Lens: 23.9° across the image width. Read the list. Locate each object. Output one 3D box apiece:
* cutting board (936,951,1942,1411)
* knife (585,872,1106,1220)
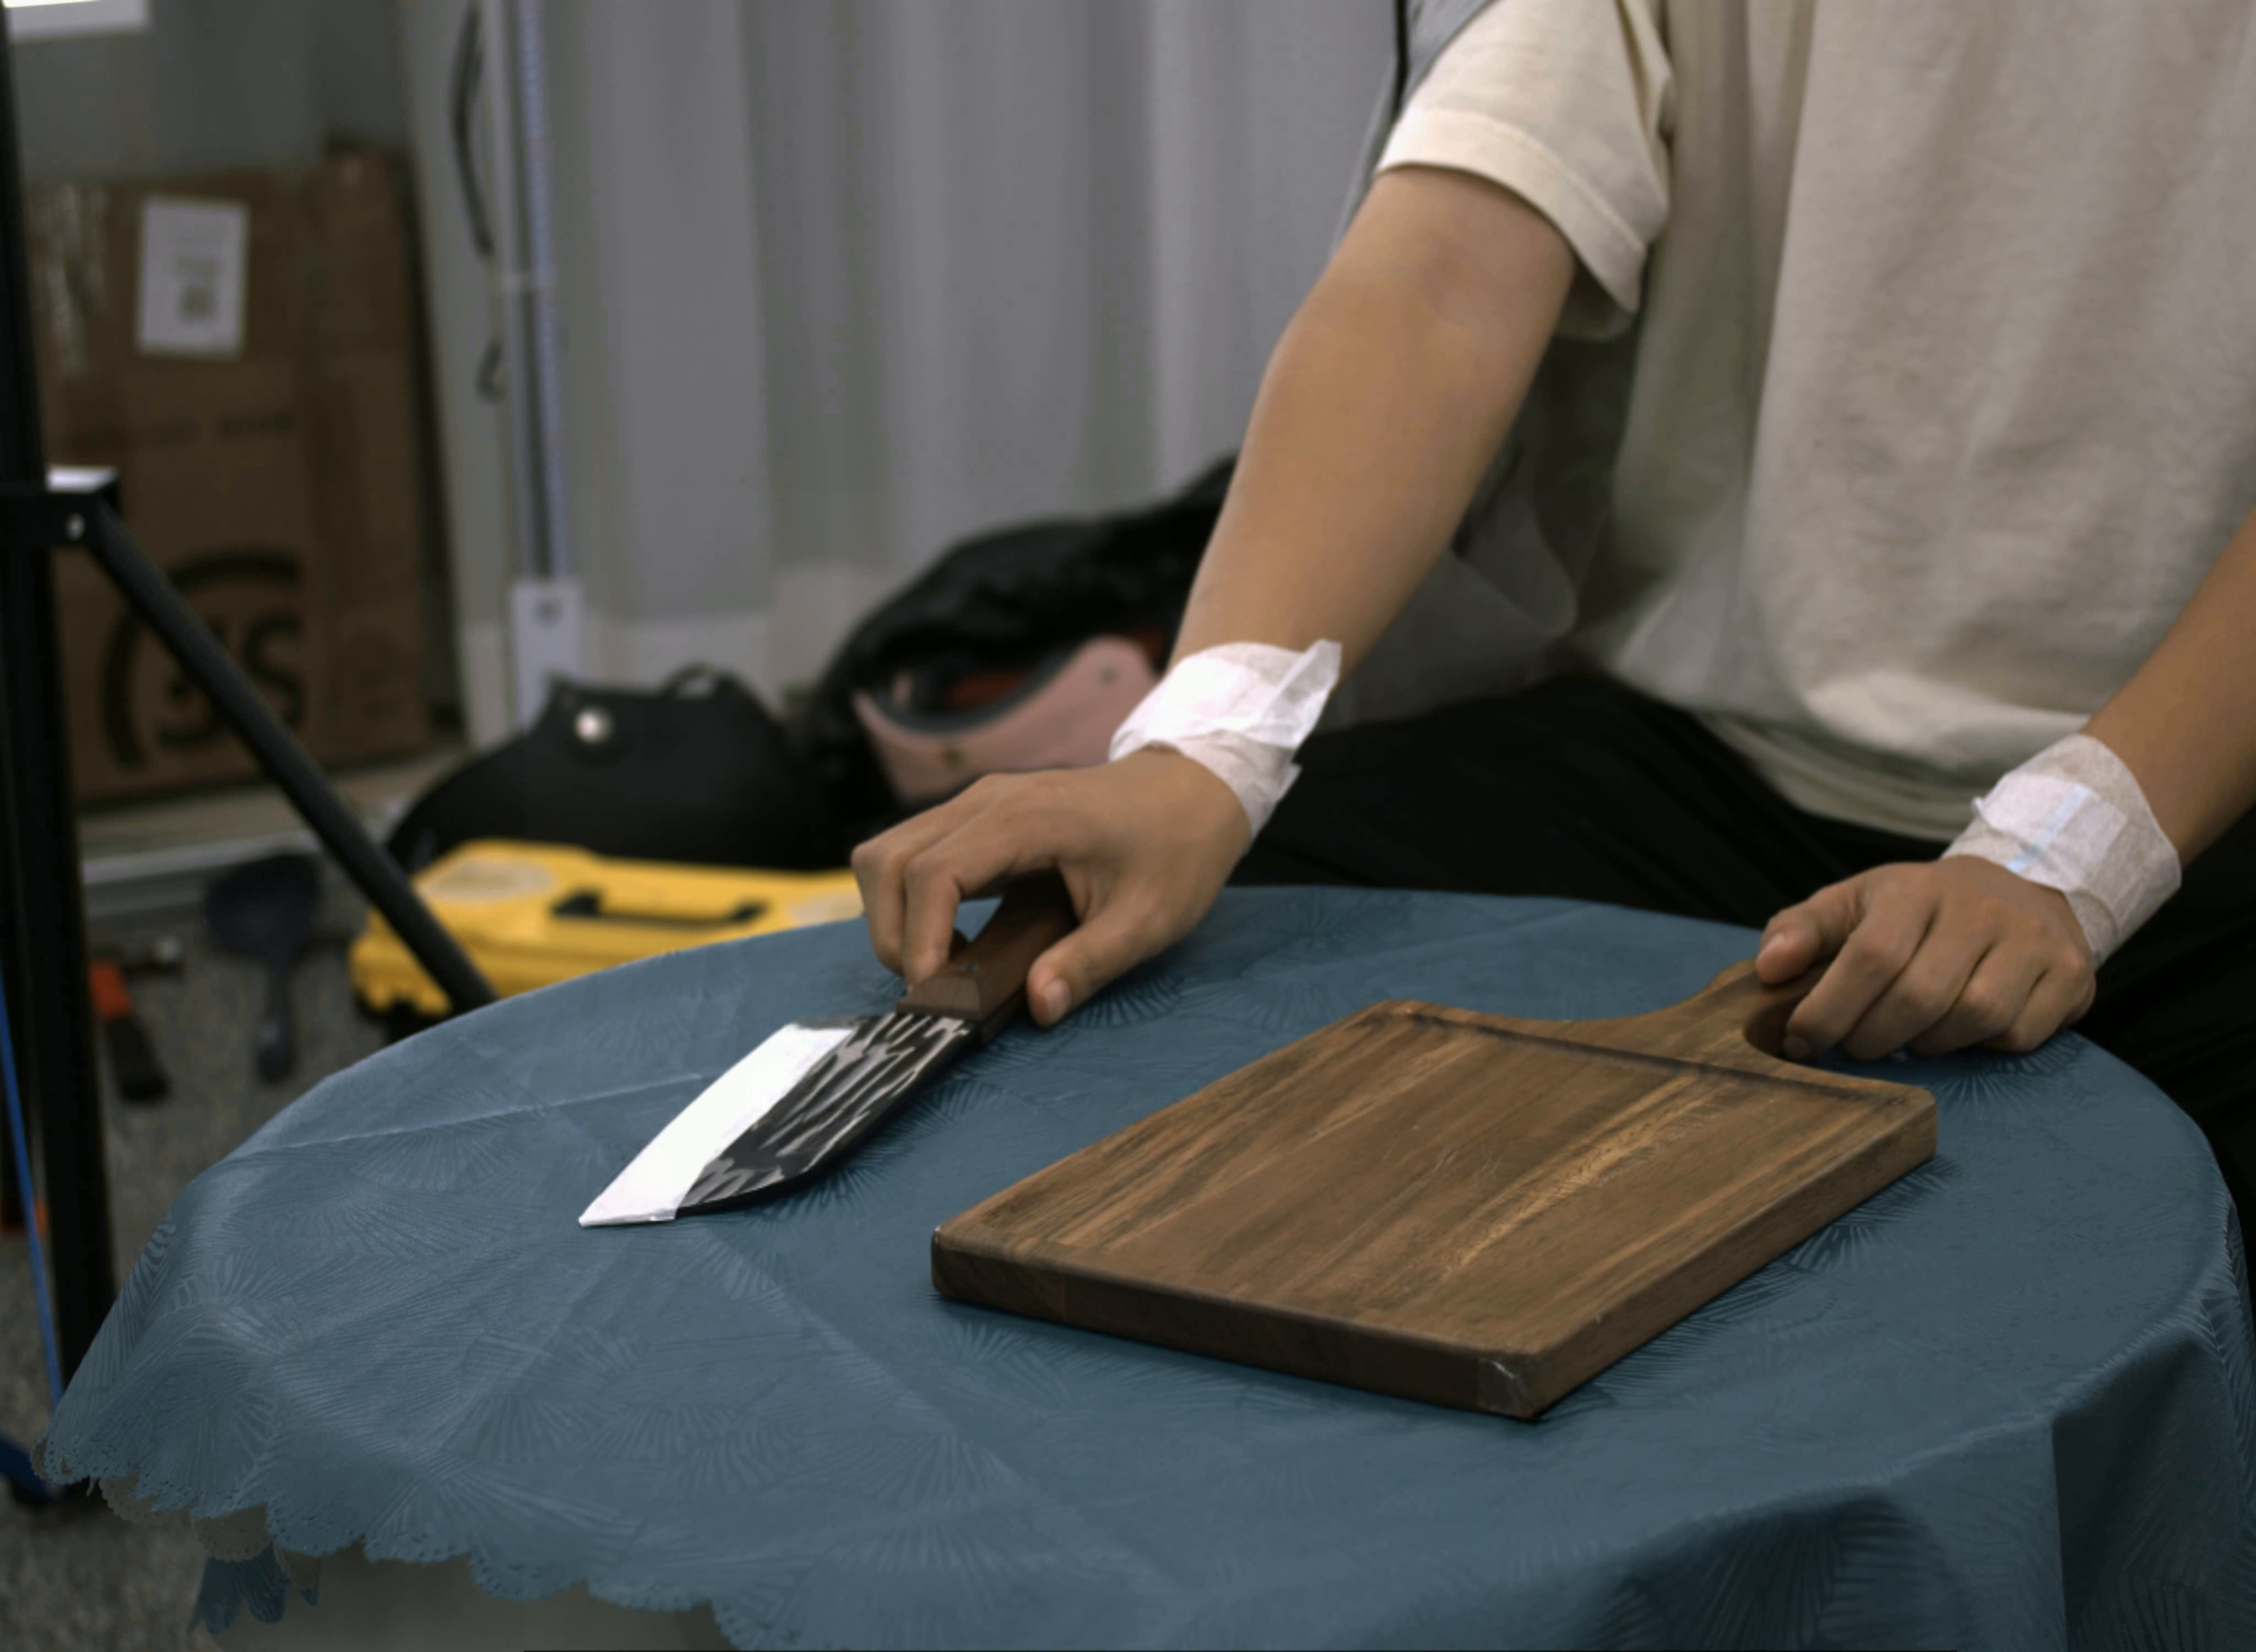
[{"bbox_3d":[0.121,0.092,1.555,0.205,0.023,0.345,8,18,34],"label":"cutting board"},{"bbox_3d":[-0.084,0.070,1.672,0.069,0.024,0.296,0,18,22],"label":"knife"}]
